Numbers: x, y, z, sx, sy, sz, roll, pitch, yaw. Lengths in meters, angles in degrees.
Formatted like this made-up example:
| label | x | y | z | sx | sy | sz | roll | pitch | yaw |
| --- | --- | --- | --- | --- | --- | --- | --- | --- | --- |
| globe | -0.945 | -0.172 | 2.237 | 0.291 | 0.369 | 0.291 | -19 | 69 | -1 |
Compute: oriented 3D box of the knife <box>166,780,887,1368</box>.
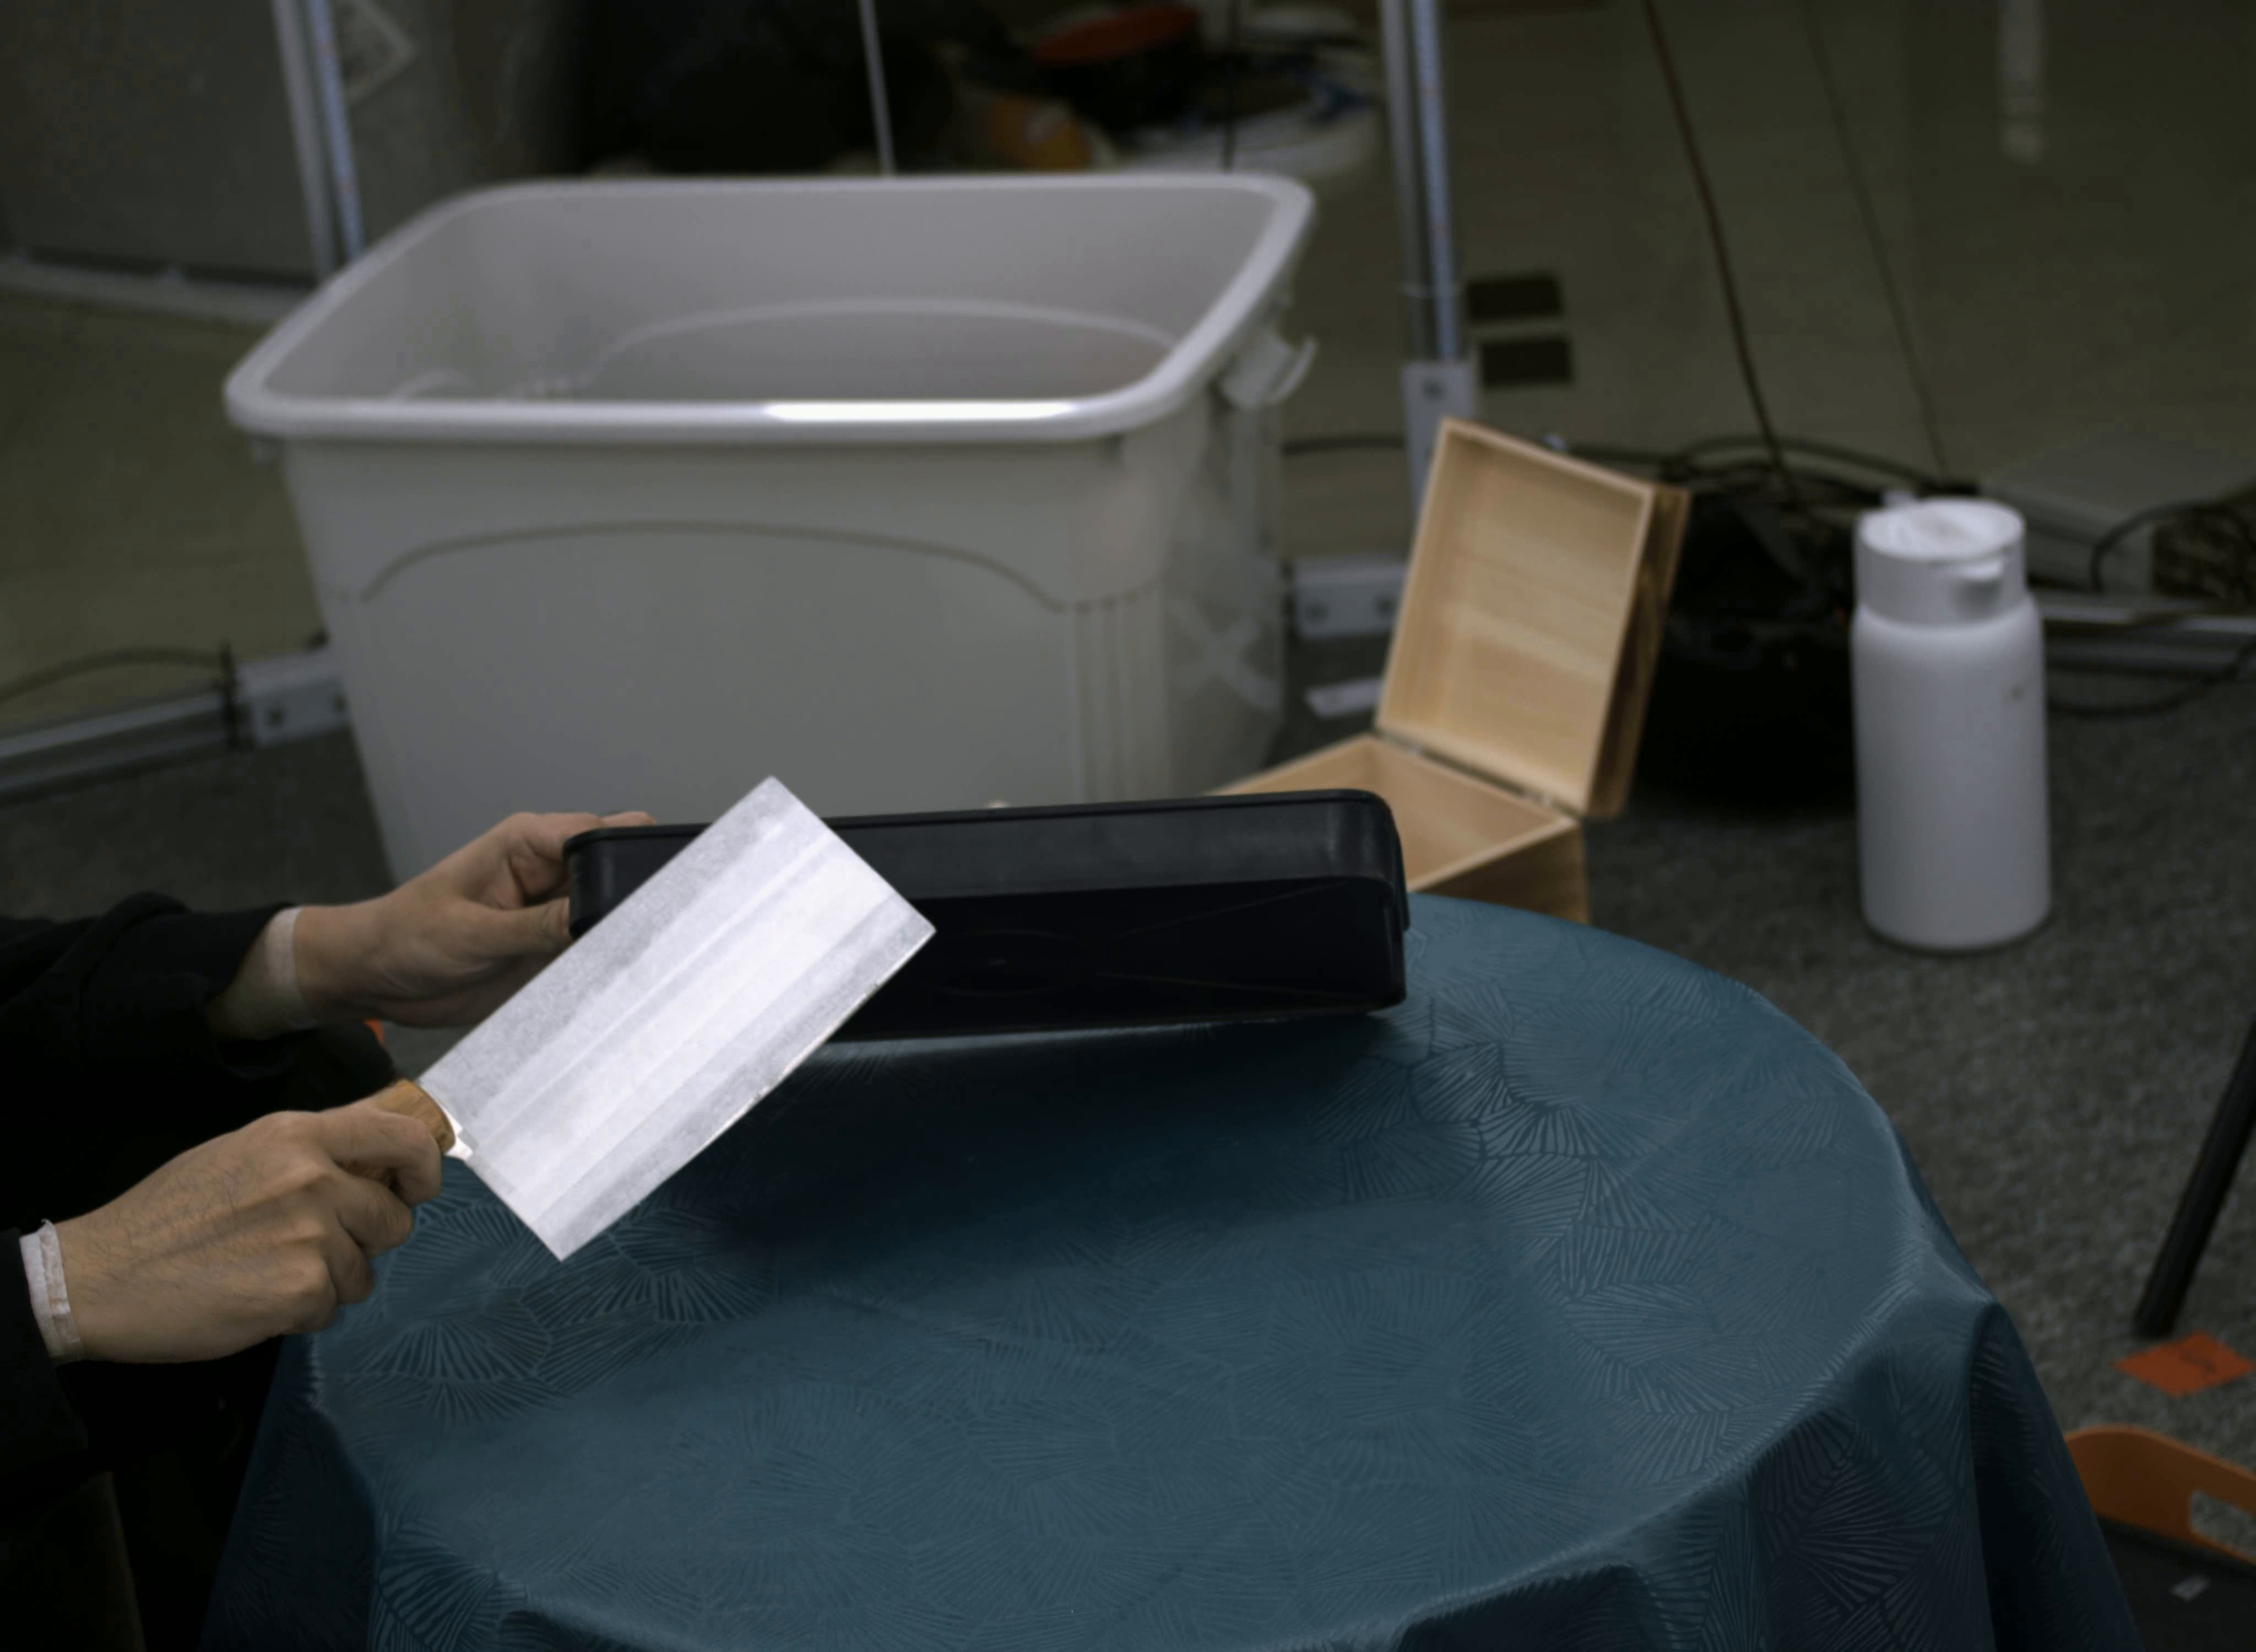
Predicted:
| label | x | y | z | sx | sy | sz | roll | pitch | yaw |
| --- | --- | --- | --- | --- | --- | --- | --- | --- | --- |
| knife | -0.210 | 0.103 | 2.059 | 0.092 | 0.021 | 0.303 | 43 | 71 | 13 |

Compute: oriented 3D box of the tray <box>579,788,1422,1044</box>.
| label | x | y | z | sx | sy | sz | roll | pitch | yaw |
| --- | --- | --- | --- | --- | --- | --- | --- | --- | --- |
| tray | -0.044 | 0.038 | 2.190 | 0.317 | 0.036 | 0.186 | -3 | -18 | 2 |
